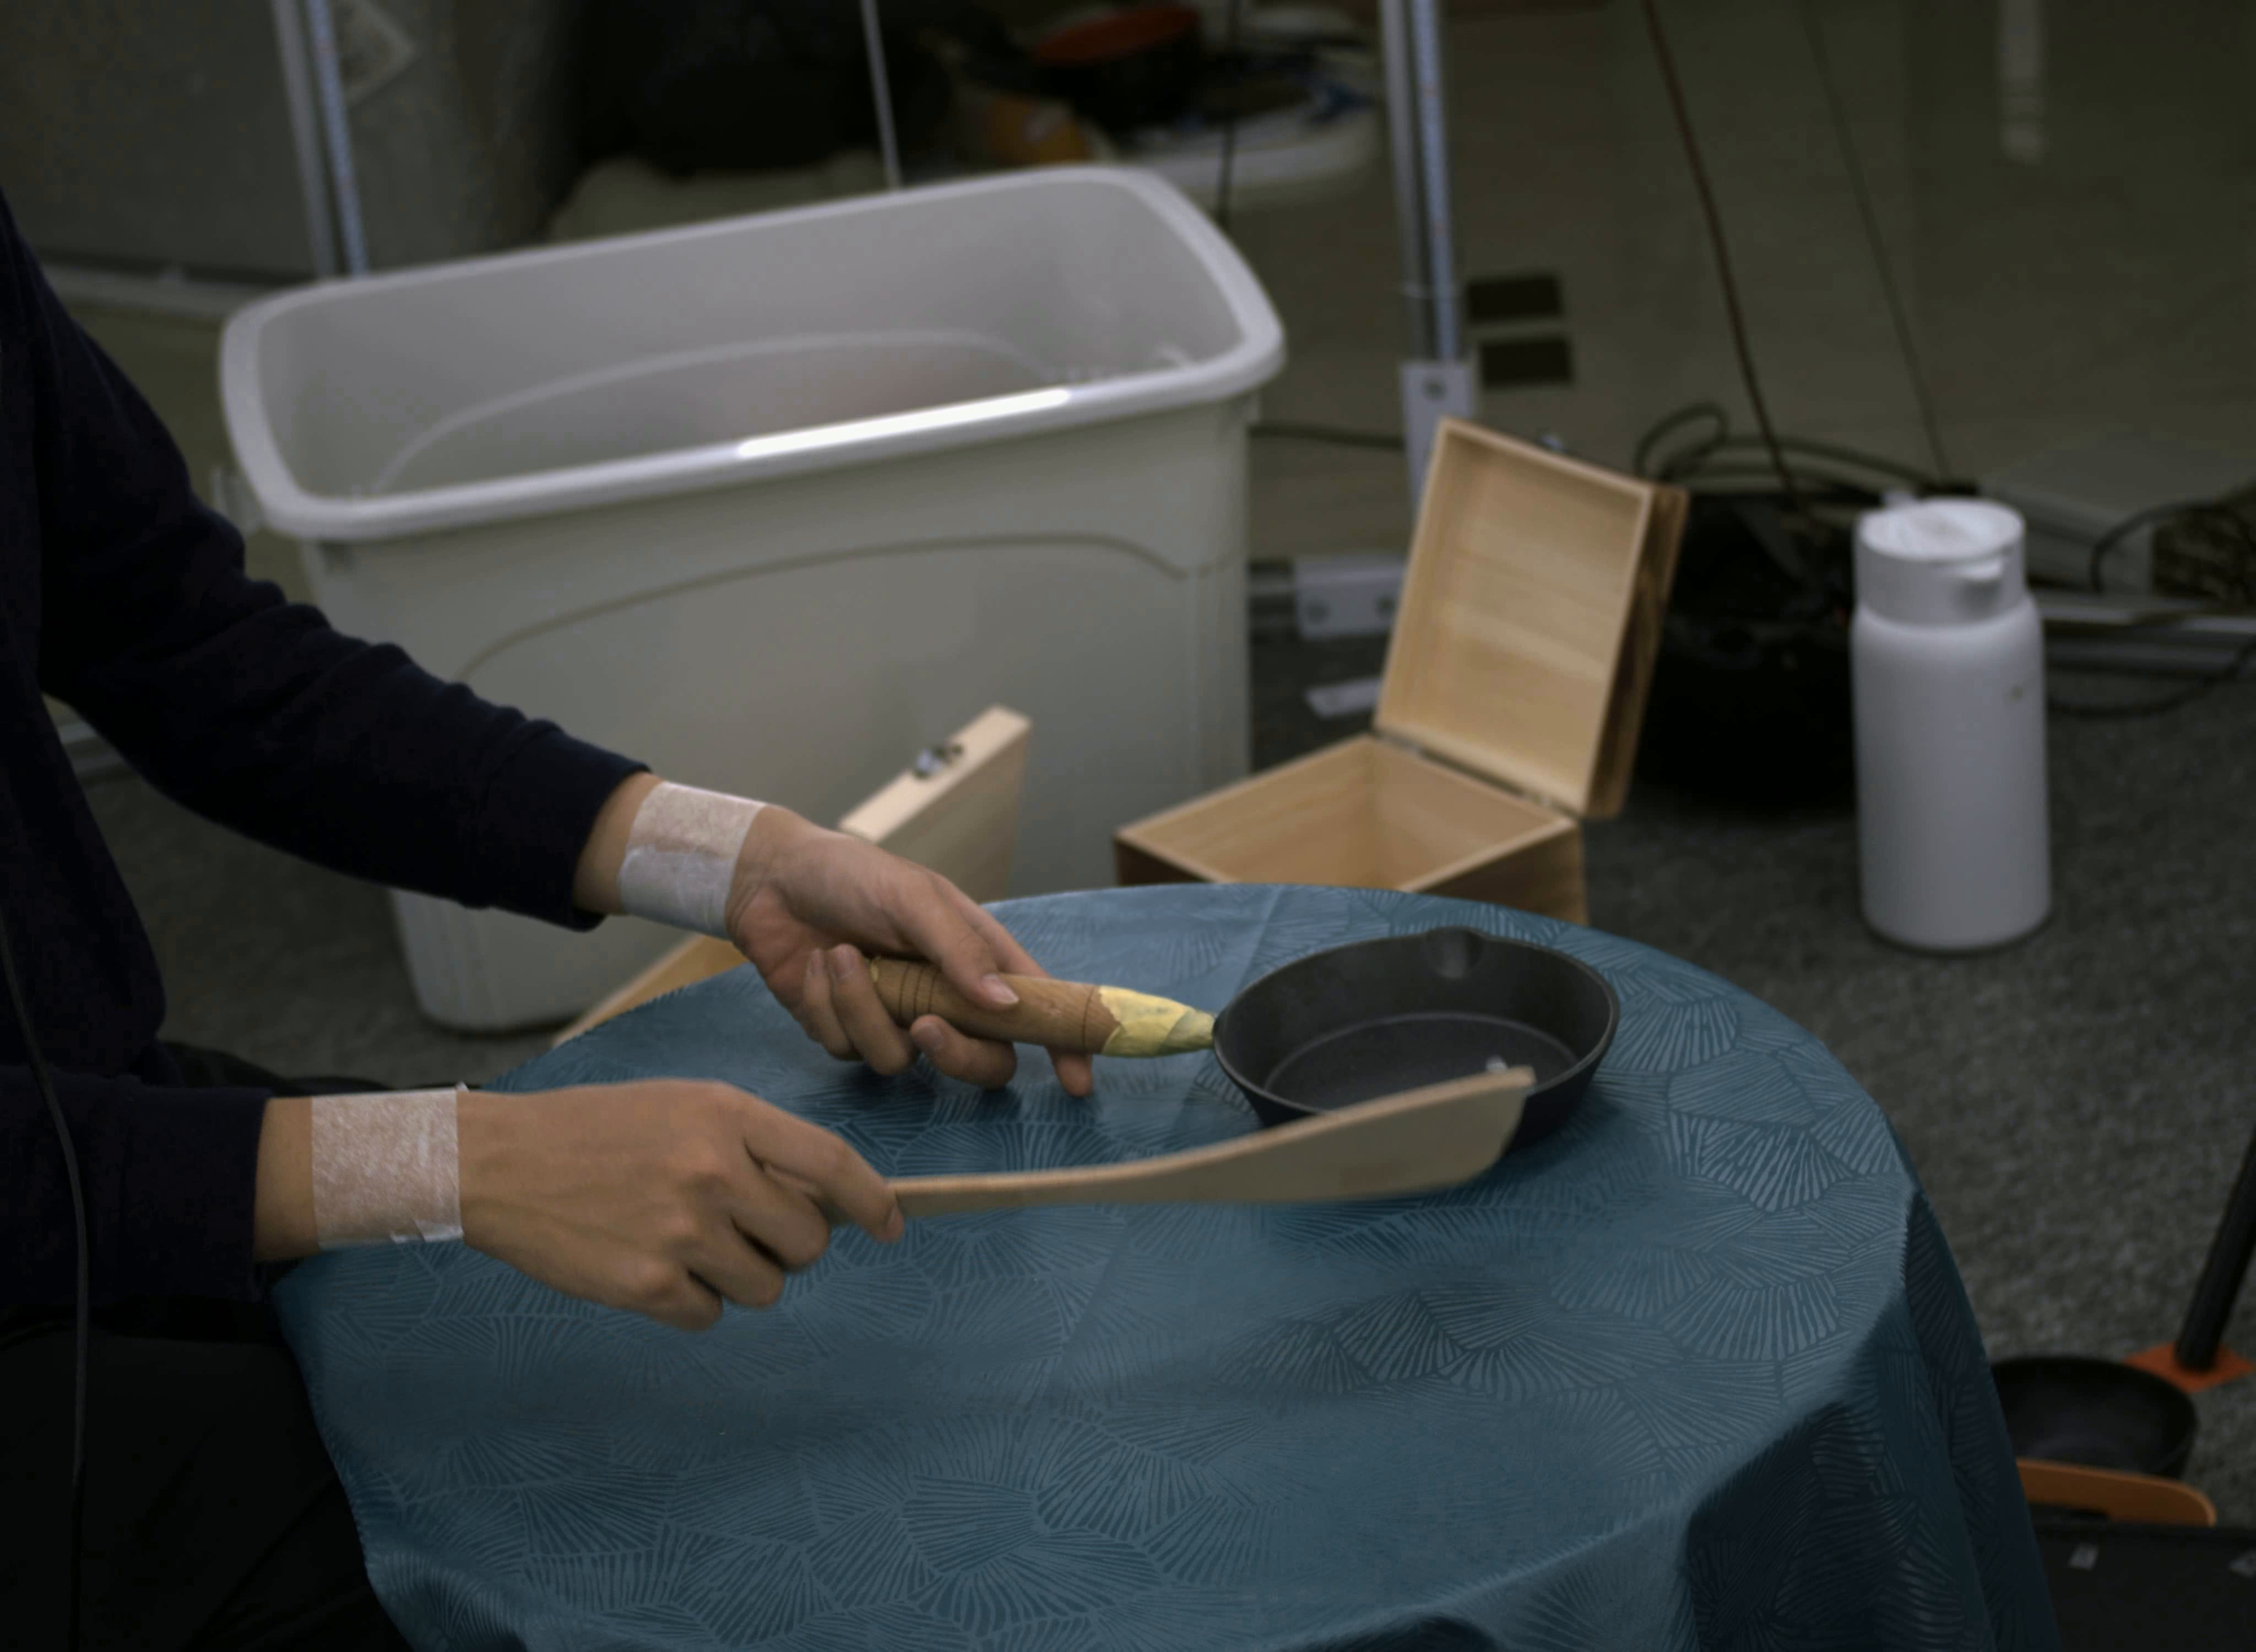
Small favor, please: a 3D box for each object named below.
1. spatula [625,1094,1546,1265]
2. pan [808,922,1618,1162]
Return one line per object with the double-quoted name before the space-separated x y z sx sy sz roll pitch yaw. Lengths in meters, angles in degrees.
"spatula" -0.015 0.131 2.010 0.327 0.081 0.016 -5 62 -2
"pan" 0.031 0.079 2.207 0.323 0.050 0.166 3 27 17
